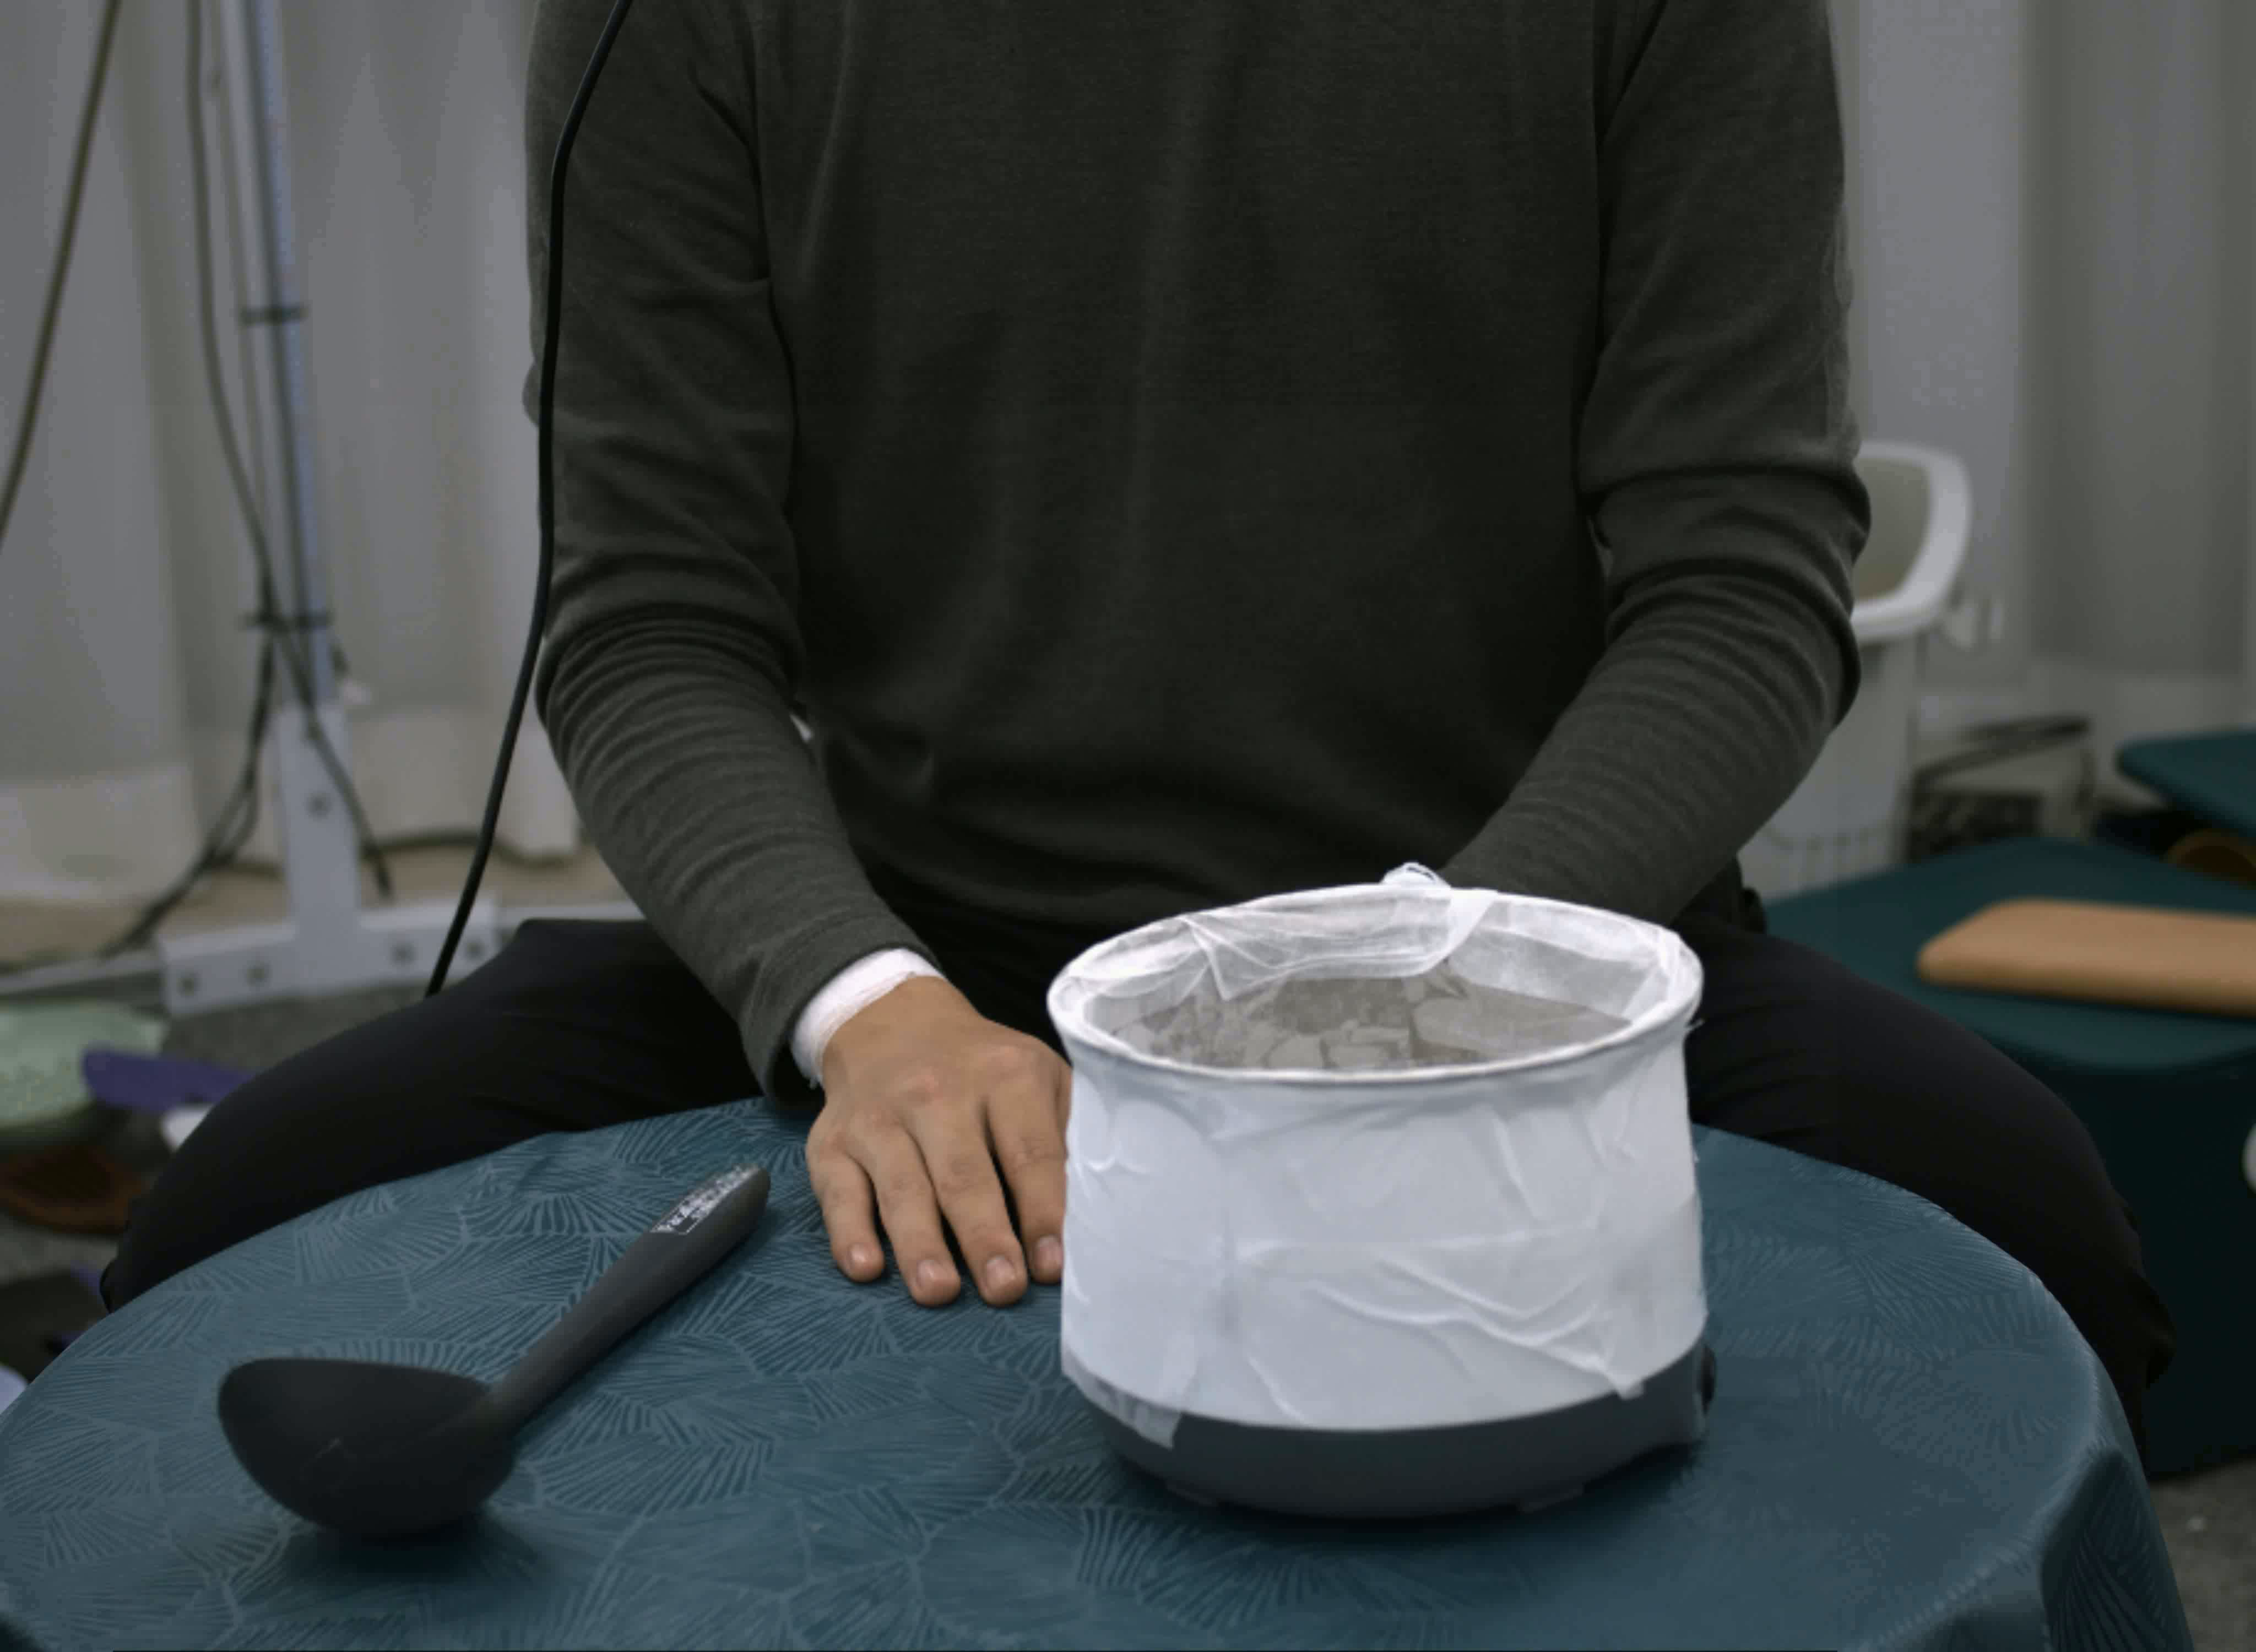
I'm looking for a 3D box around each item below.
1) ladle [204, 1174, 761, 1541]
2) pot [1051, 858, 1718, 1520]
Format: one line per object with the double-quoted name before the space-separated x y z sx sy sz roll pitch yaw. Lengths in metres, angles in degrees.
"ladle" -0.165 0.131 1.565 0.086 0.063 0.315 7 17 16
"pot" 0.074 0.094 1.513 0.178 0.136 0.235 0 15 8
